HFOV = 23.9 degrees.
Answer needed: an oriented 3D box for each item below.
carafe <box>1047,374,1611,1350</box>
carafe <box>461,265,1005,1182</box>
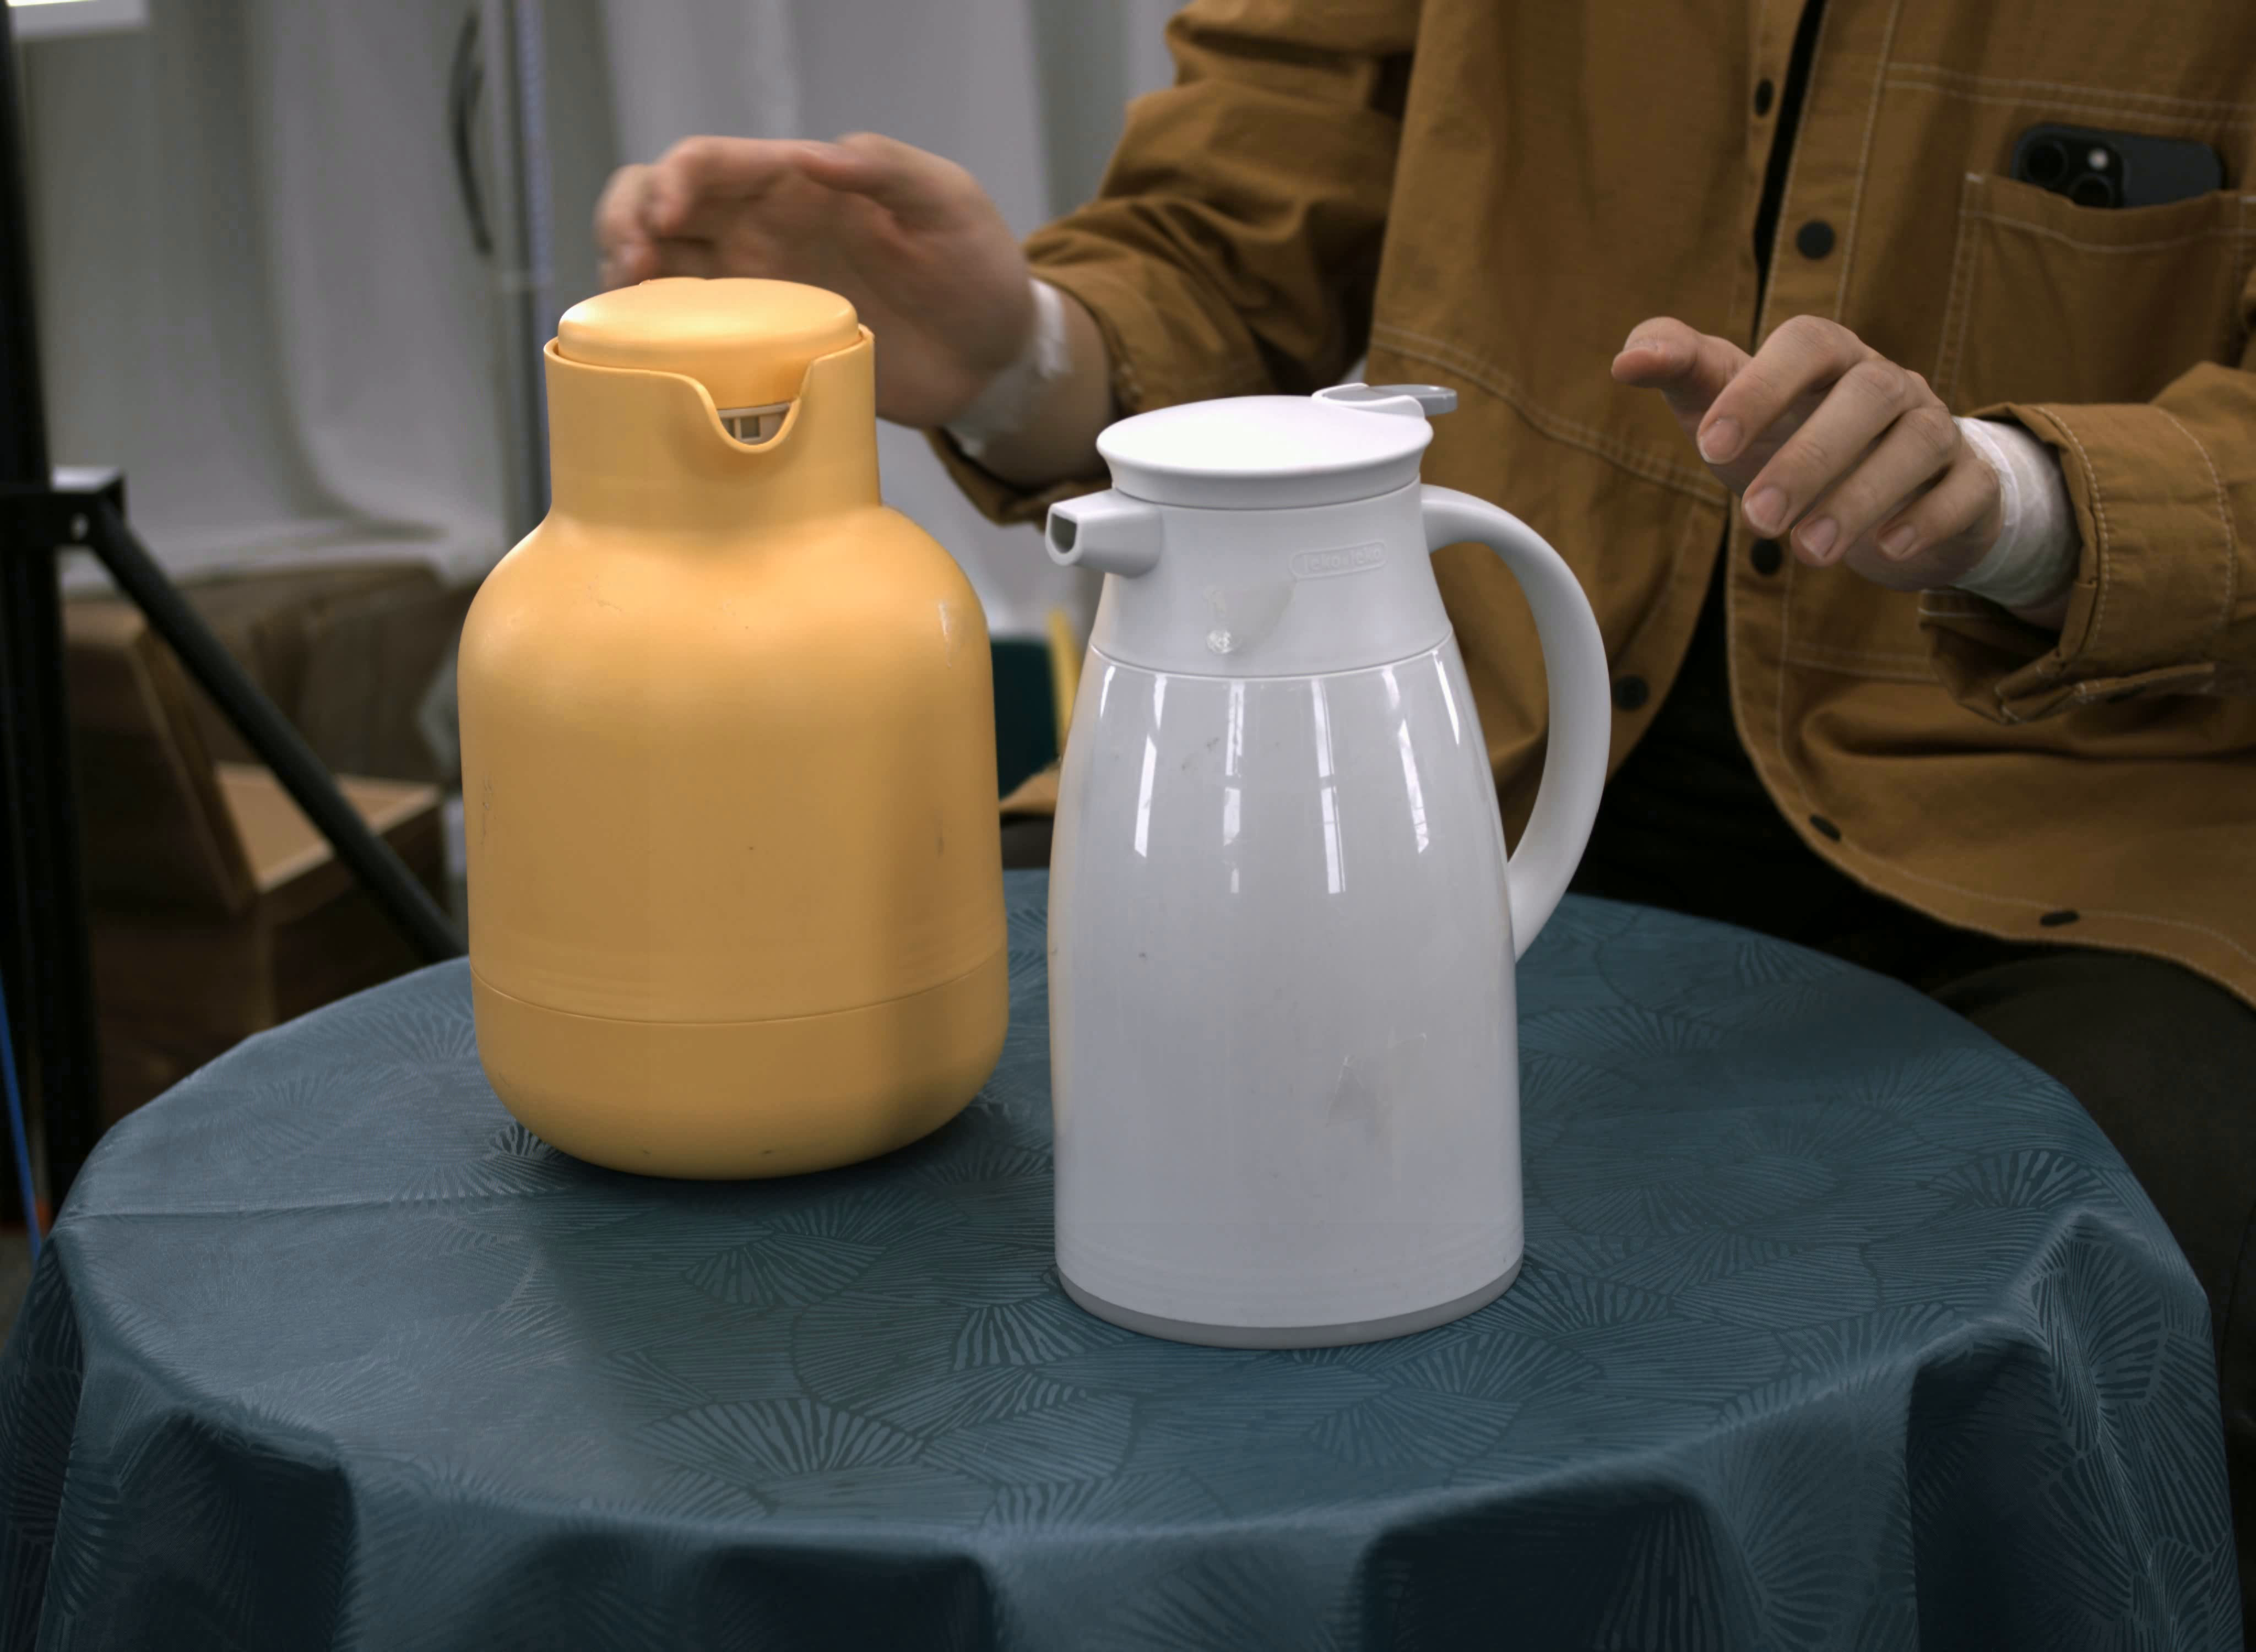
[{"bbox_3d":[0.058,0.002,1.467,0.164,0.248,0.135,-9,16,-25],"label":"carafe"},{"bbox_3d":[-0.122,-0.039,1.620,0.161,0.260,0.205,-3,16,-10],"label":"carafe"}]
